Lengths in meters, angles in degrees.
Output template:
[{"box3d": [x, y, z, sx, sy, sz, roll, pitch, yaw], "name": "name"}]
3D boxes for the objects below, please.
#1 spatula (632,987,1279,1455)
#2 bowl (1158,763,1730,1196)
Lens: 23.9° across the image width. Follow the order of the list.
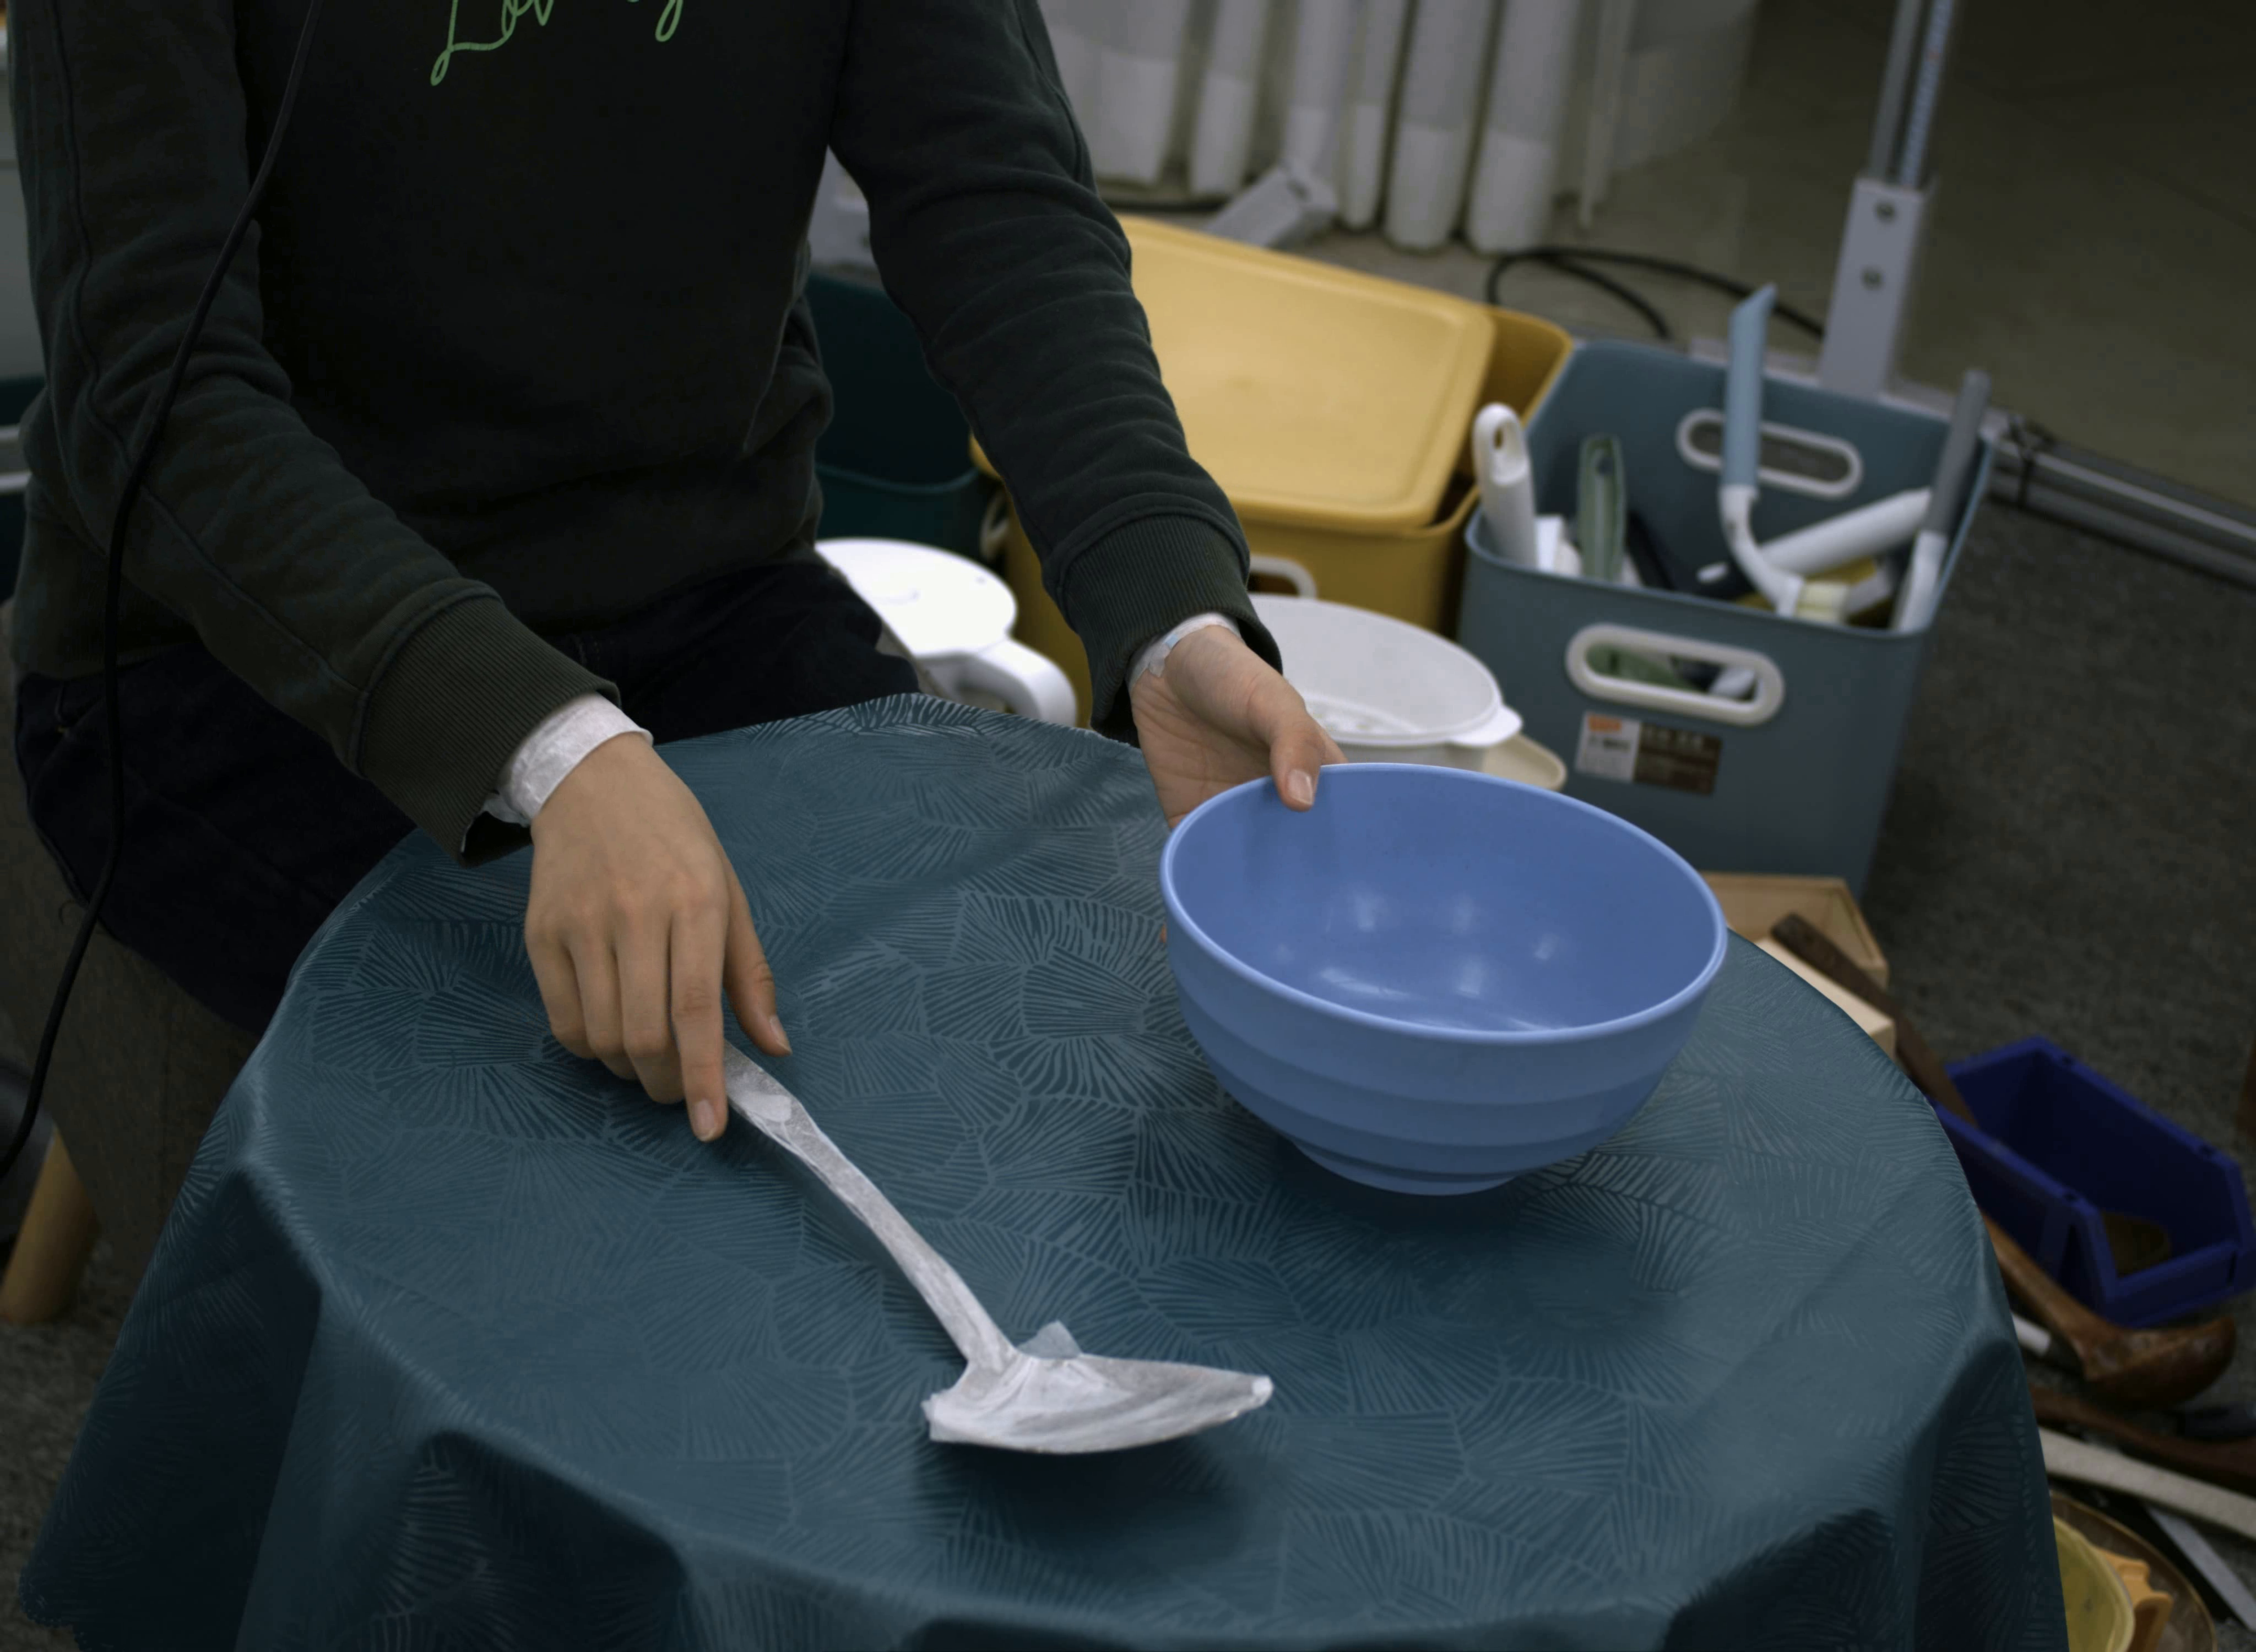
[{"box3d": [-0.081, 0.121, 1.744, 0.098, 0.044, 0.368, -12, 32, -29], "name": "spatula"}, {"box3d": [0.104, 0.064, 1.836, 0.196, 0.095, 0.198, 4, 28, -3], "name": "bowl"}]
